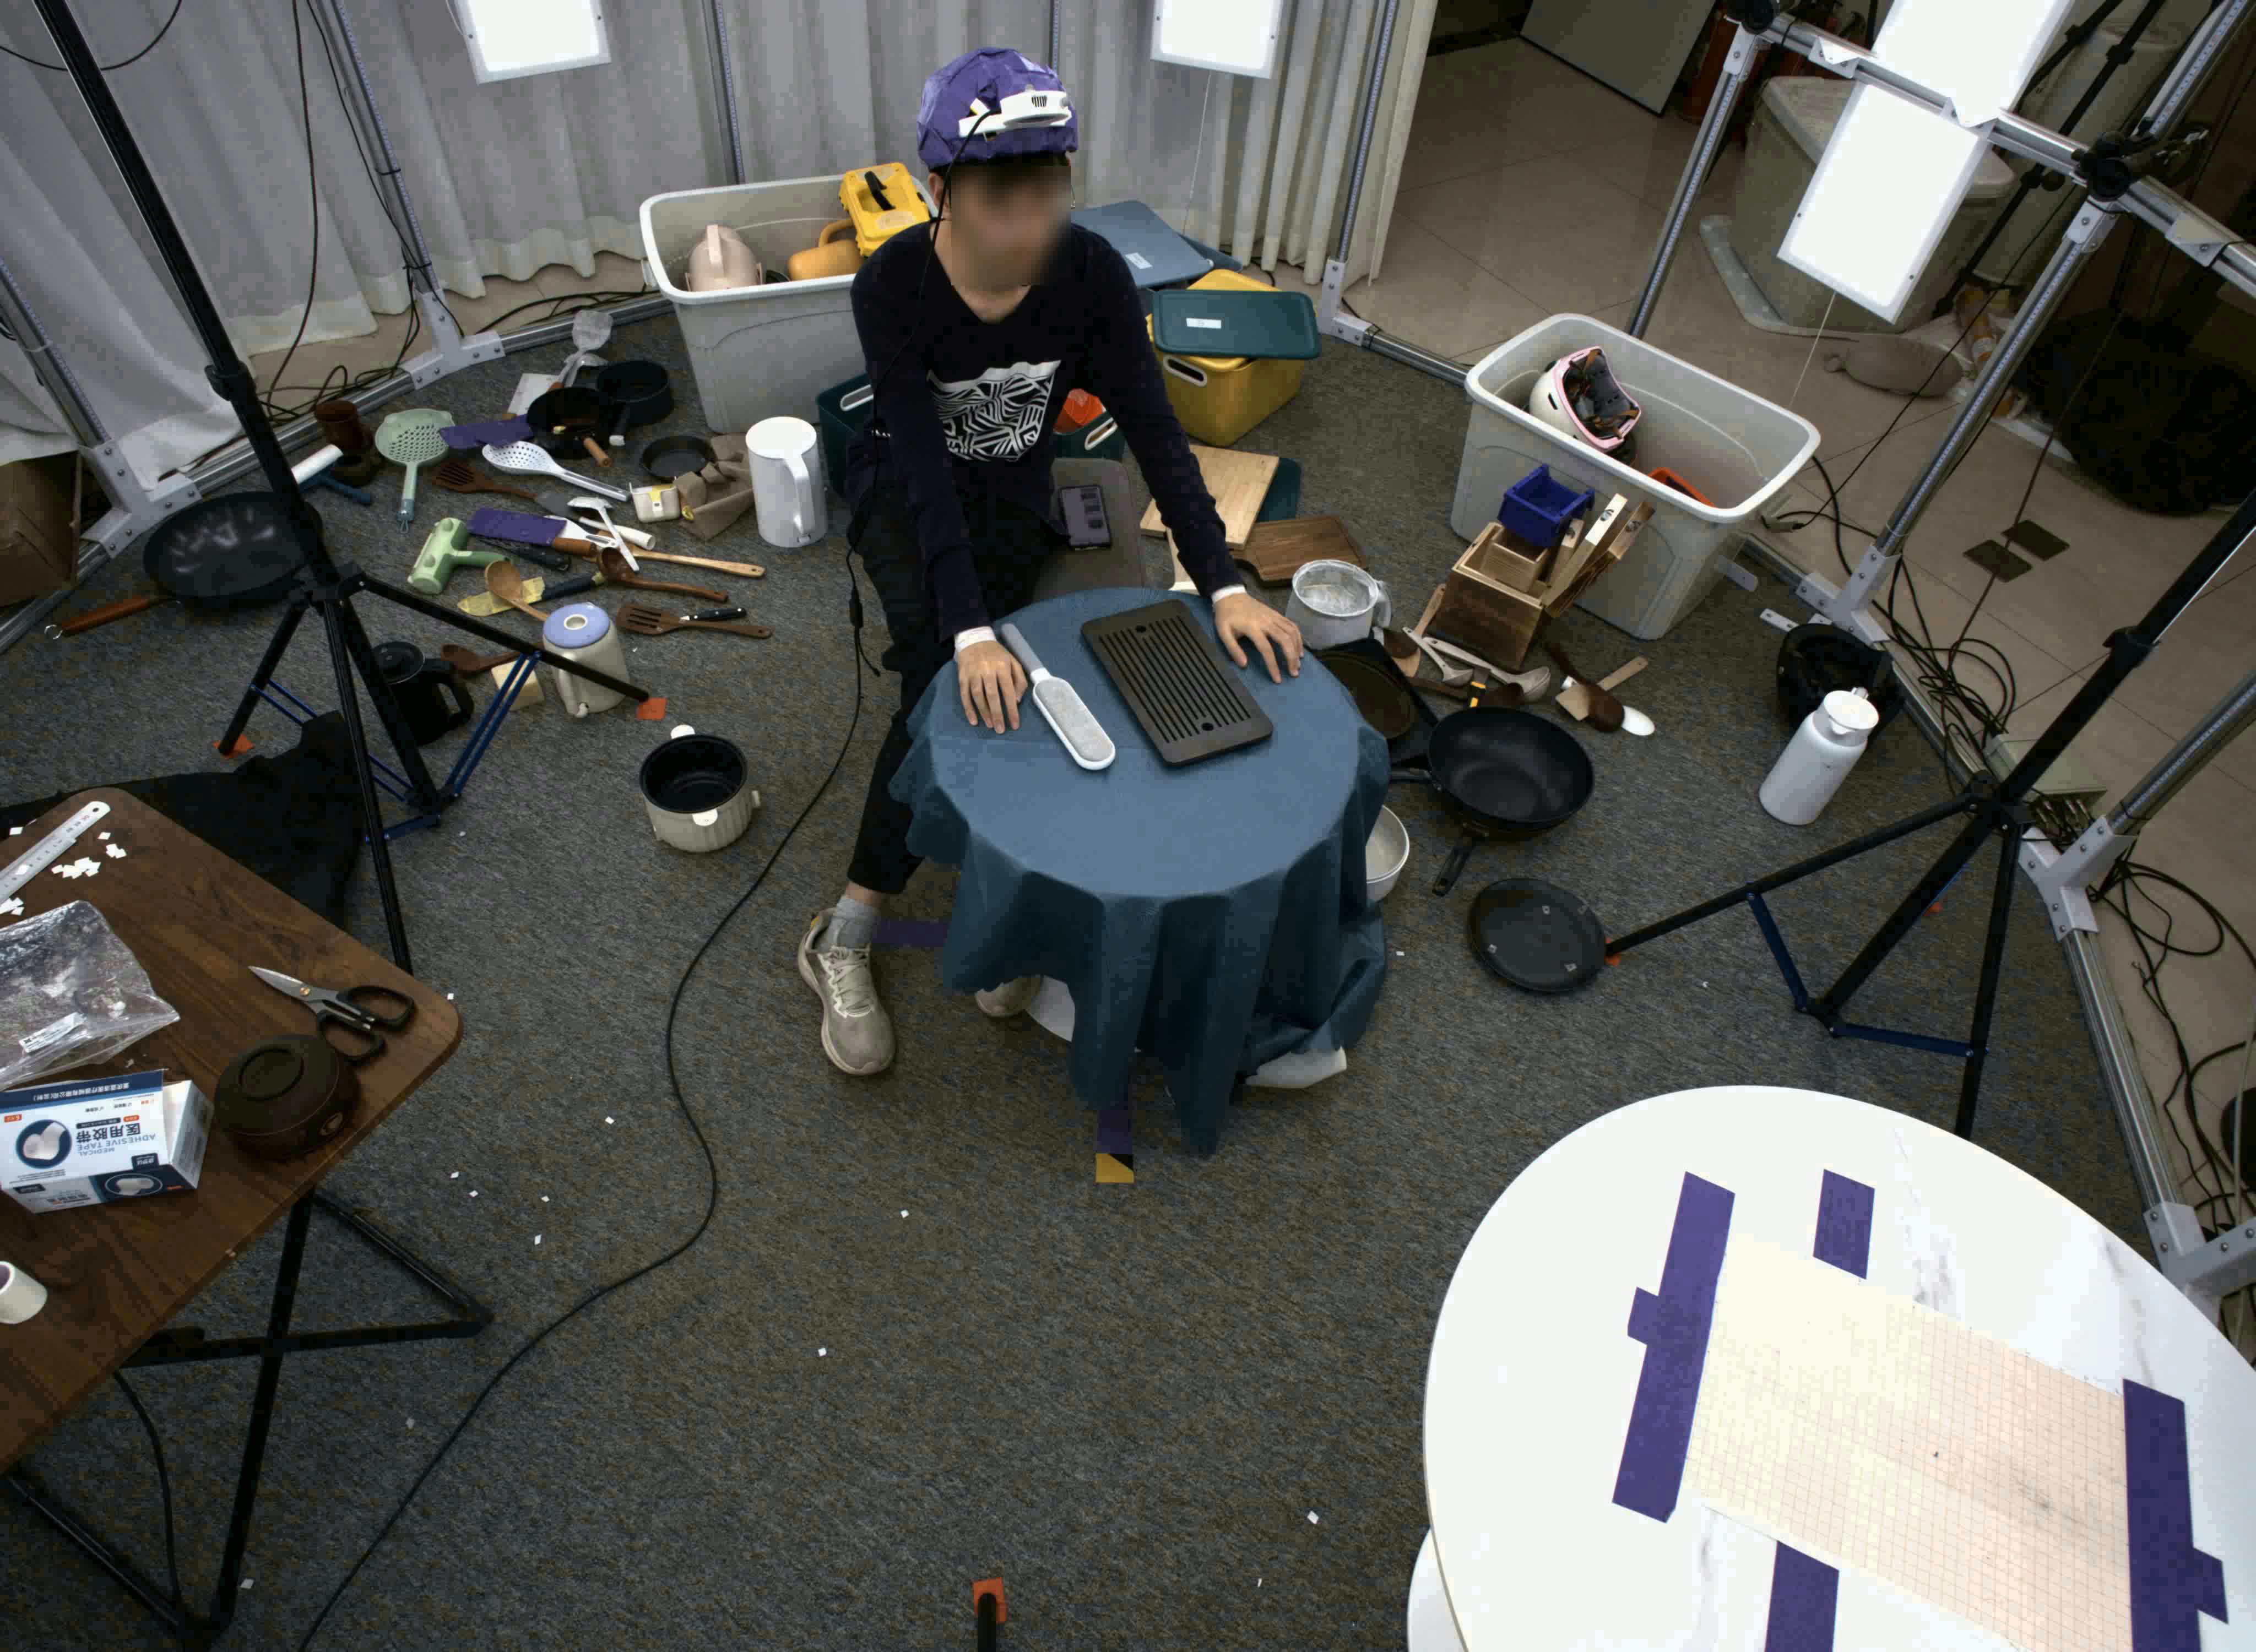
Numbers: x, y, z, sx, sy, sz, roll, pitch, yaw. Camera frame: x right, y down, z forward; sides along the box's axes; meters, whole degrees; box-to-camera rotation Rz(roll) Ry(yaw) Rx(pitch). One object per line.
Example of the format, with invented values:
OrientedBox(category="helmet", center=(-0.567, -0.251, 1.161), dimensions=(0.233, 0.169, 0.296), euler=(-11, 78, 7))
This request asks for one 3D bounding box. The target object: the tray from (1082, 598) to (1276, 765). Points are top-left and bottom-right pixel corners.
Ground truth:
OrientedBox(category="tray", center=(0.069, -0.212, 1.845), dimensions=(0.170, 0.018, 0.313), euler=(-18, 52, -18))

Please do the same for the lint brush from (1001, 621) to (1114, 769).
OrientedBox(category="lint brush", center=(-0.105, -0.190, 1.808), dimensions=(0.060, 0.020, 0.315), euler=(-23, 54, -16))
